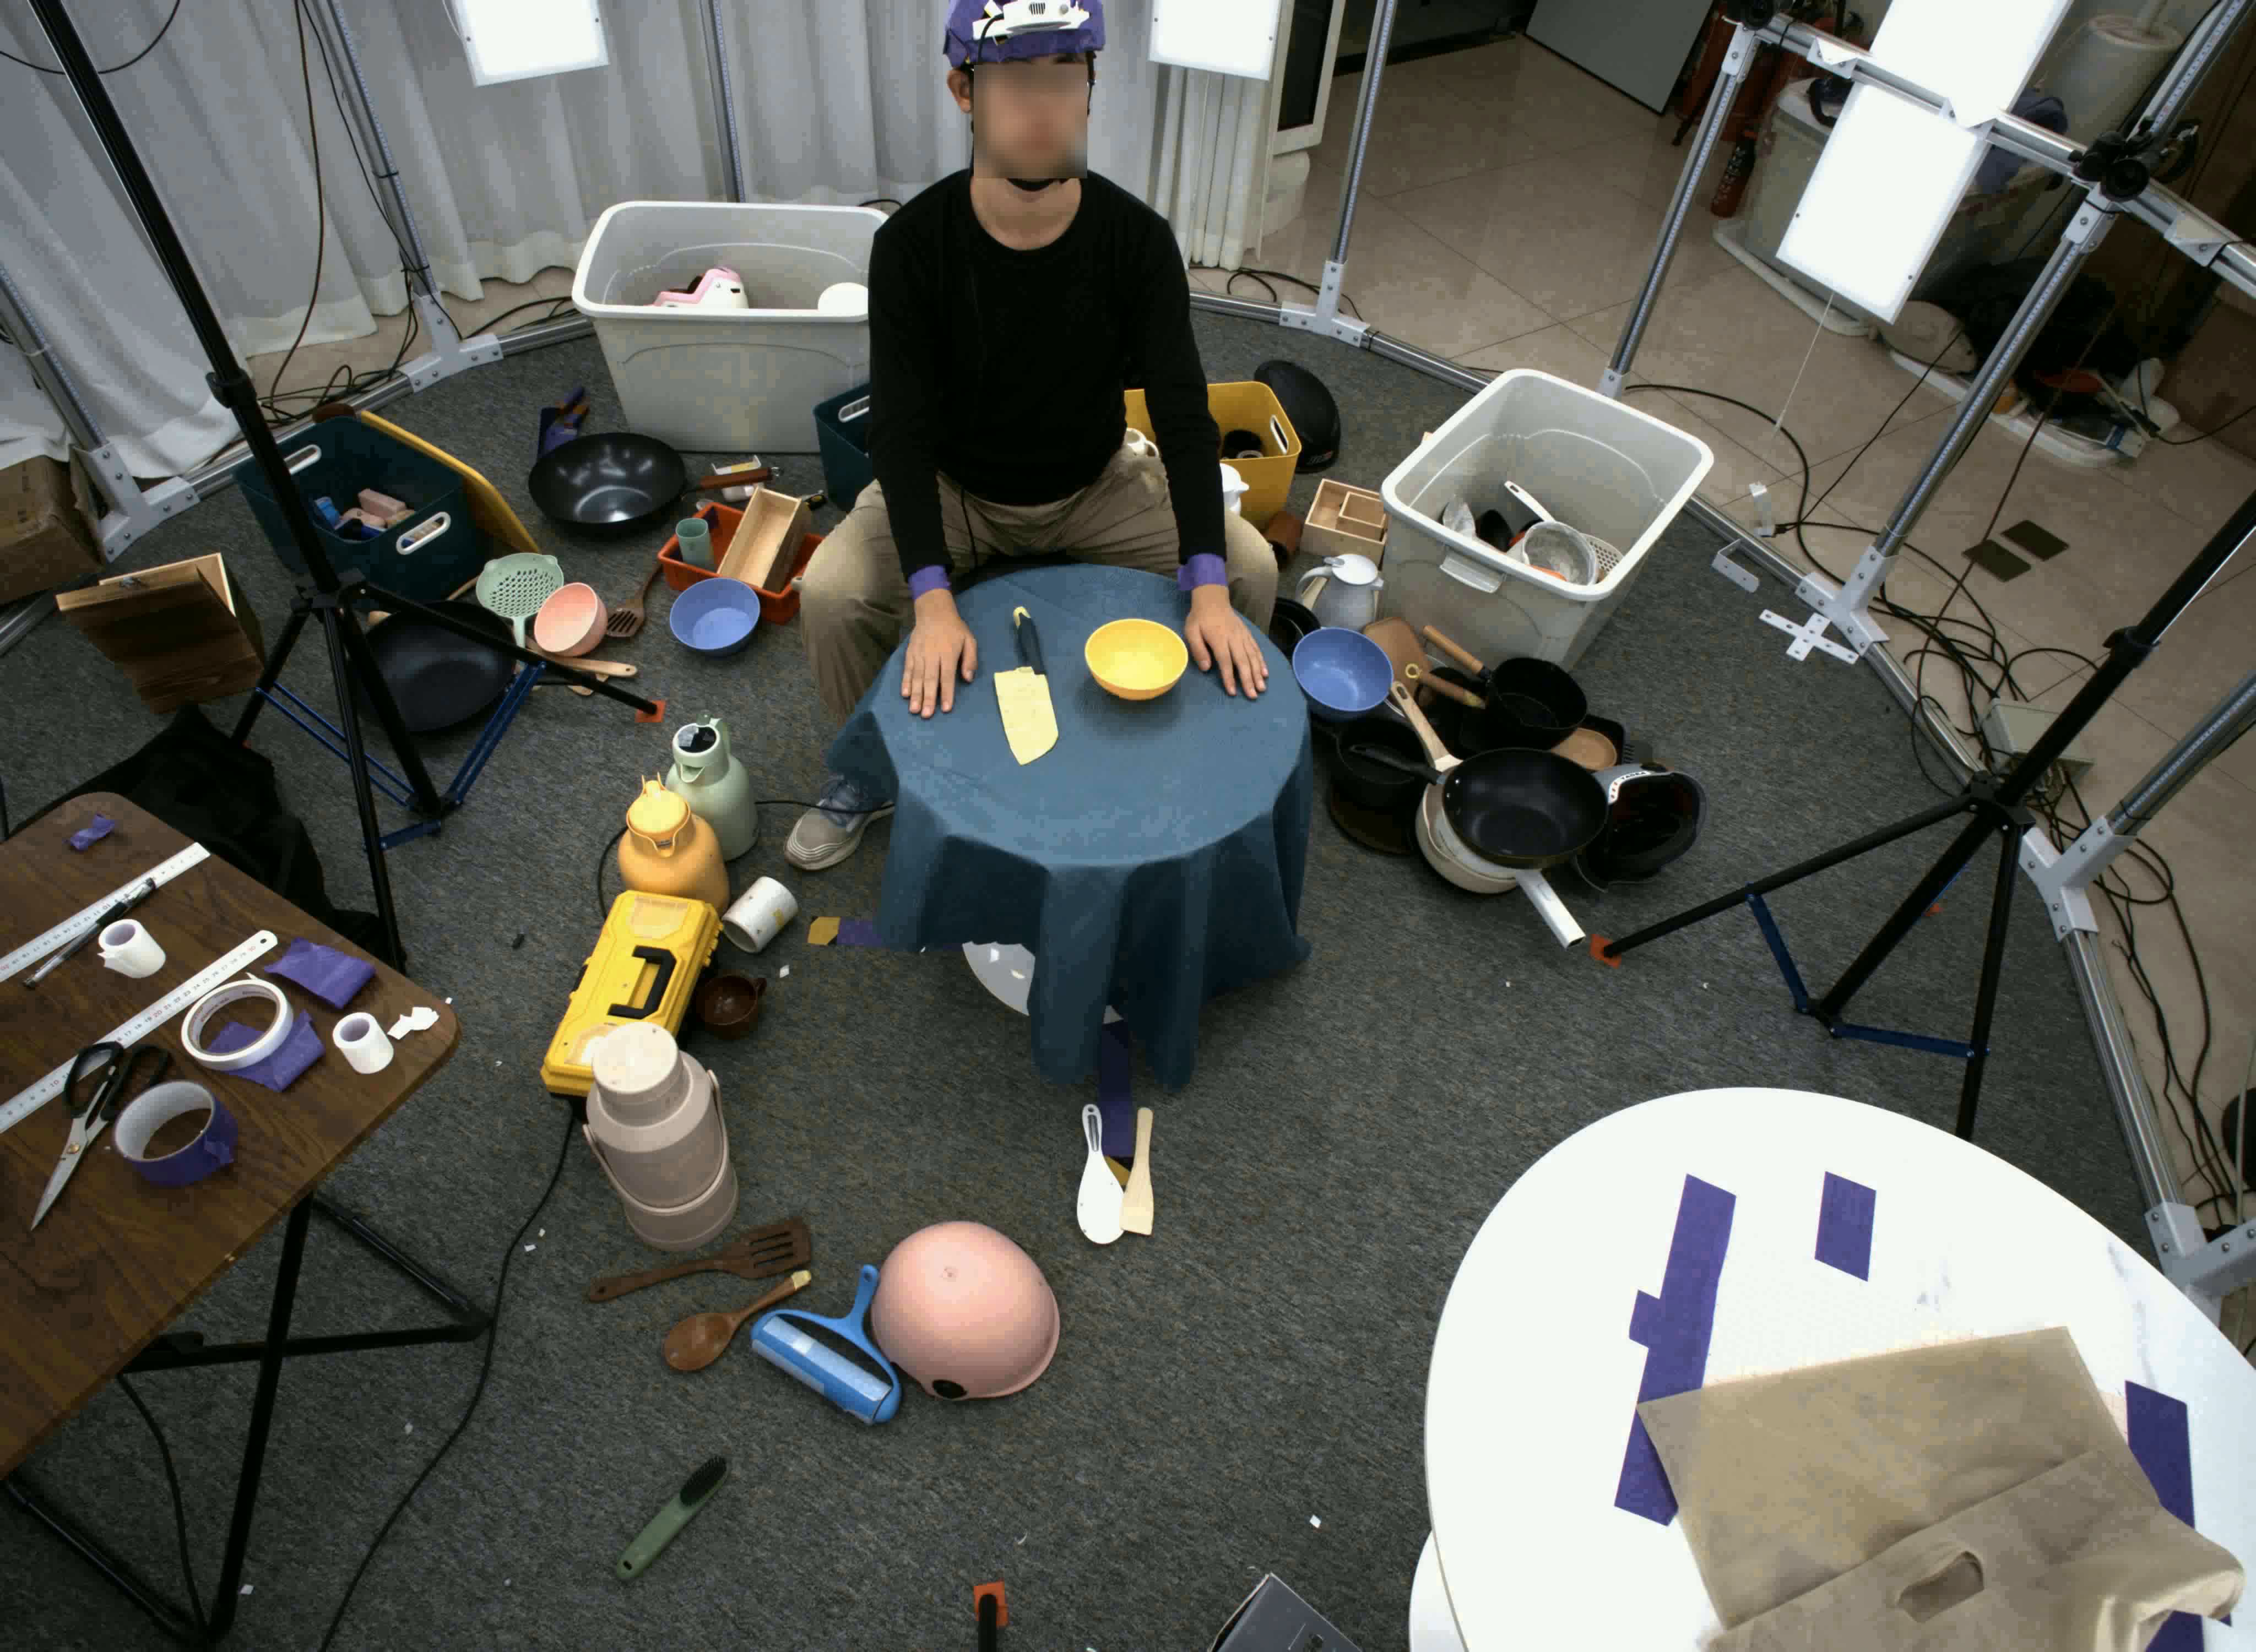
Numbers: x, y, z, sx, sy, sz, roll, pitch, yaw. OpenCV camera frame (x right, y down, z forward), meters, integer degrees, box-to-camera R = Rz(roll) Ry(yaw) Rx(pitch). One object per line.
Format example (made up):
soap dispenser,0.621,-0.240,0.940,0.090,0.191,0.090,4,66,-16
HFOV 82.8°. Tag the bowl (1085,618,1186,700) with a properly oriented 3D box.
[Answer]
bowl,0.008,-0.226,1.828,0.145,0.059,0.149,3,49,-4

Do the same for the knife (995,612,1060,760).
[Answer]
knife,-0.148,-0.202,1.826,0.081,0.026,0.297,-4,50,-9
